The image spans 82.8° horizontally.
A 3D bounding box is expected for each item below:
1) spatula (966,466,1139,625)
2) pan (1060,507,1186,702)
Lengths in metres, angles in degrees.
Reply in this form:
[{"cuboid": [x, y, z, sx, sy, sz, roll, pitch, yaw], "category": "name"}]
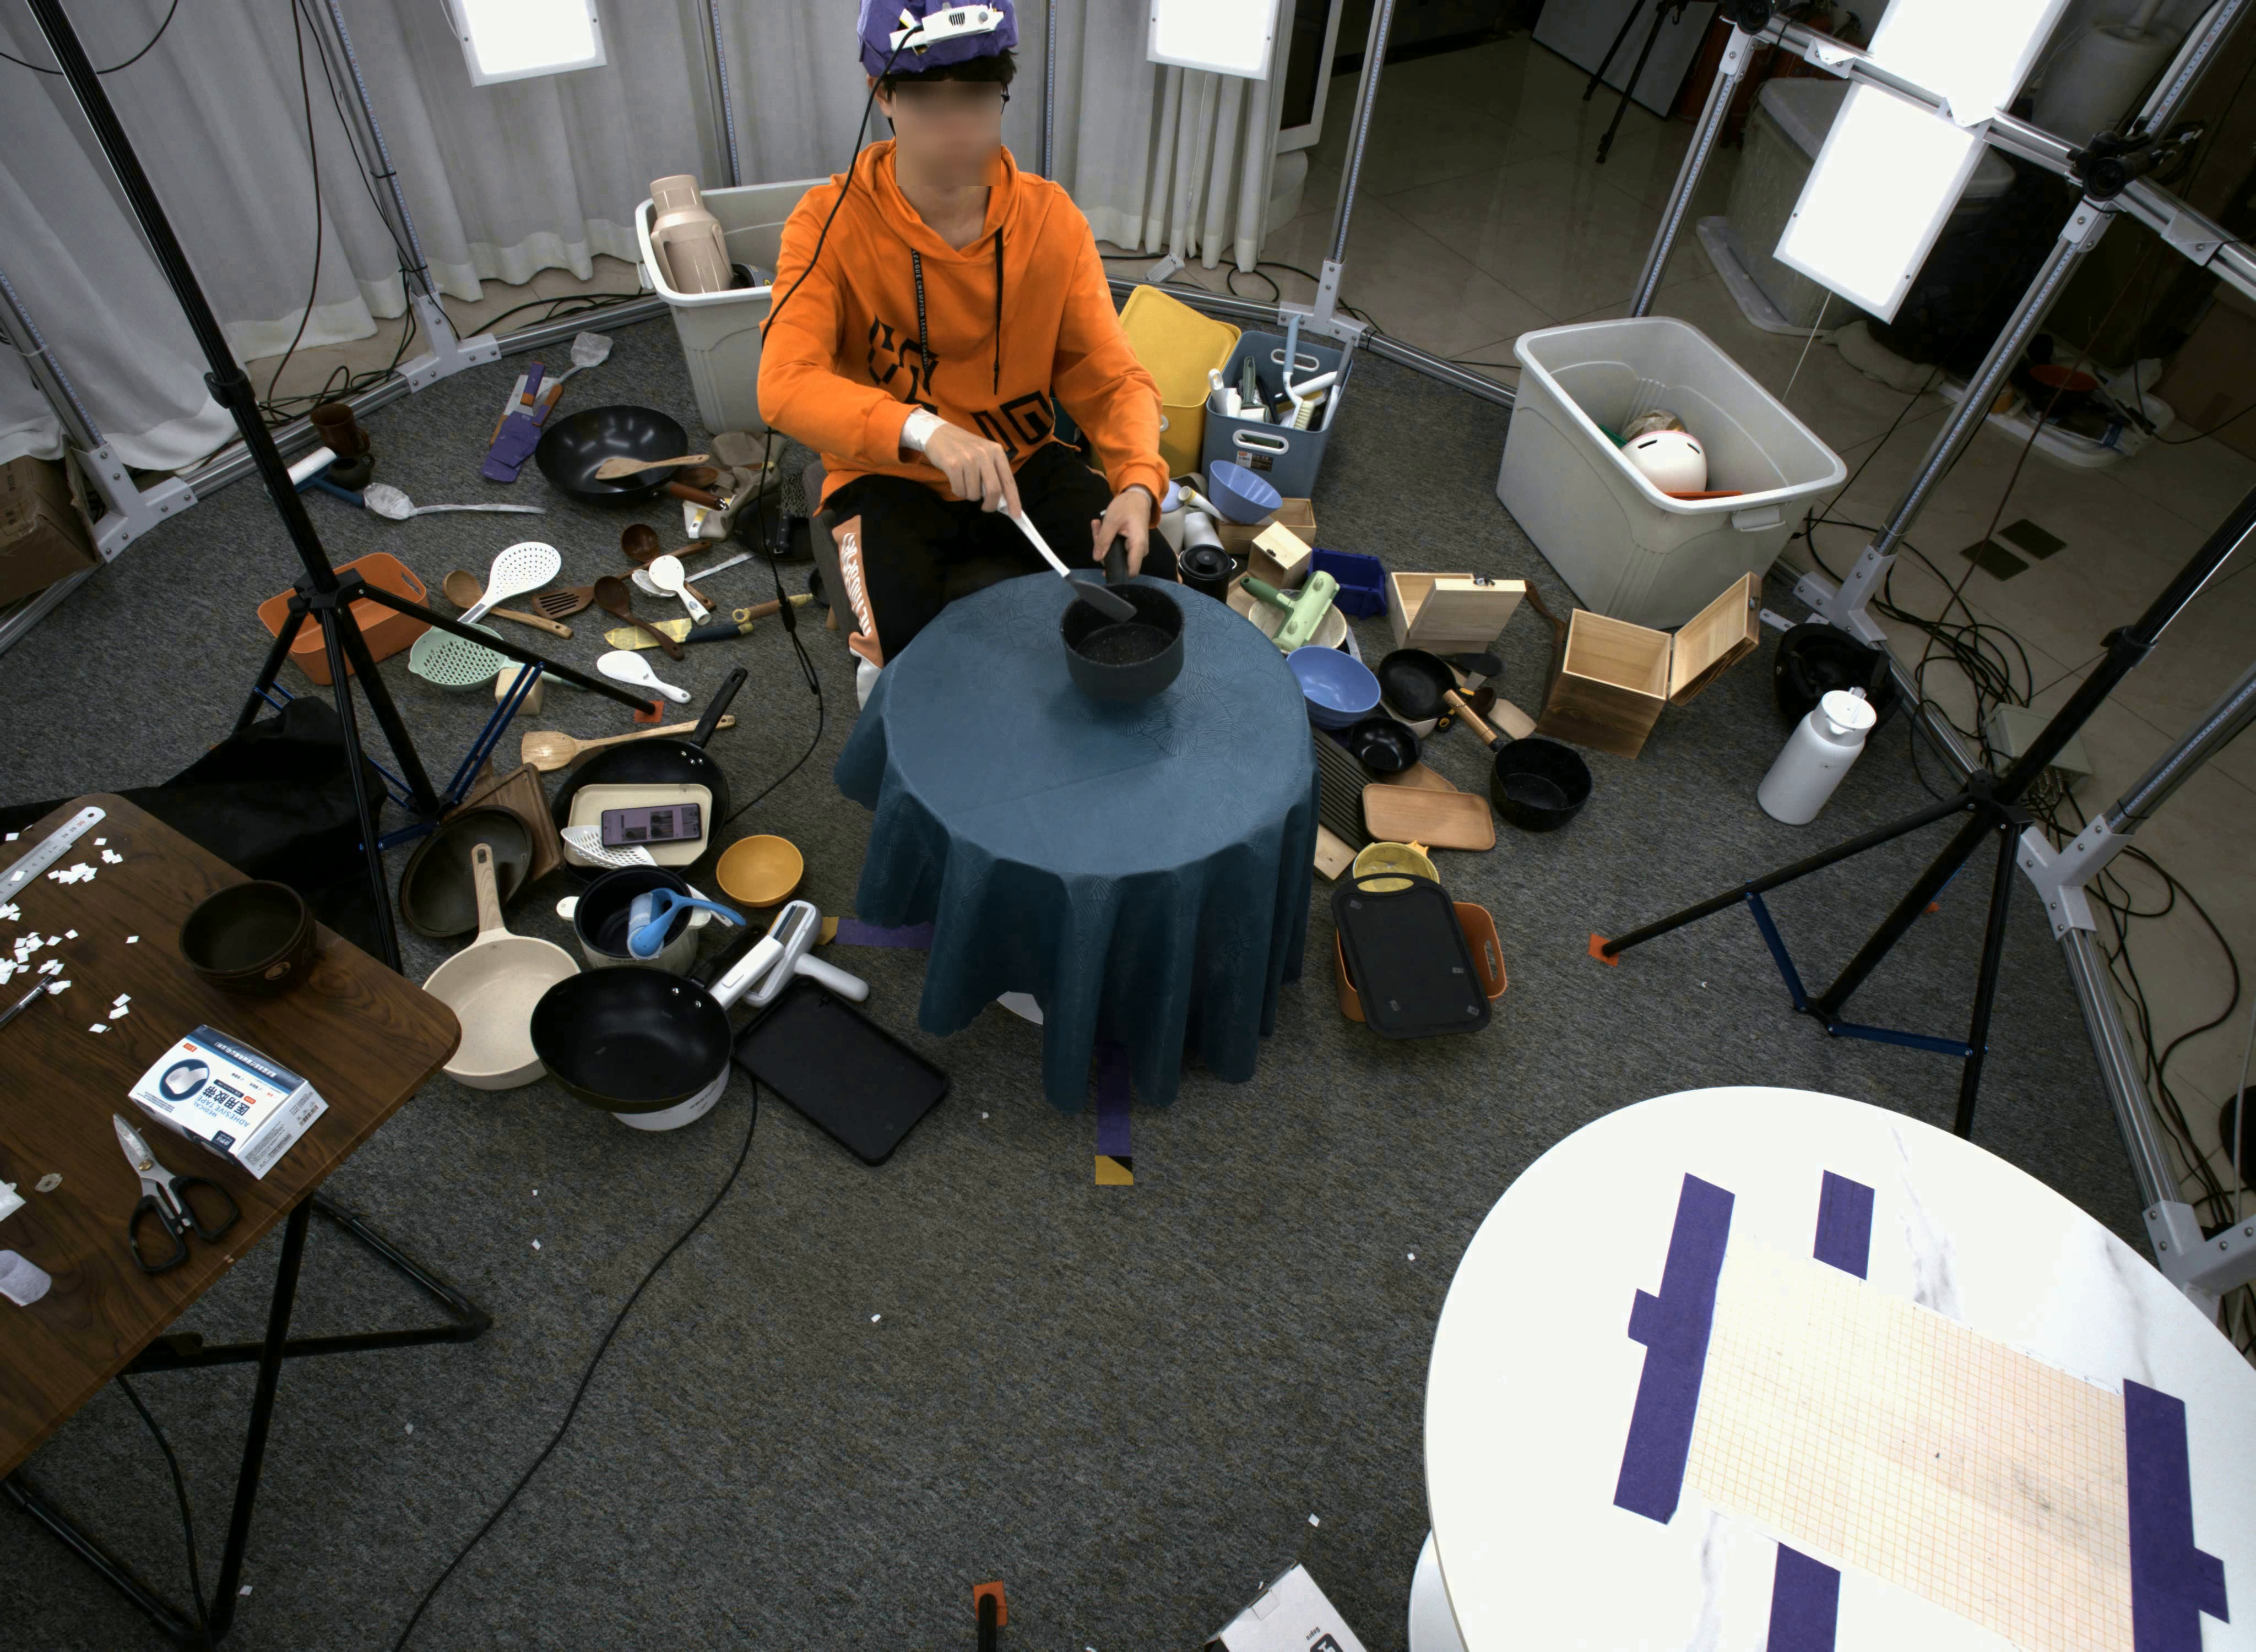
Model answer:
[{"cuboid": [-0.102, -0.373, 1.747, 0.285, 0.058, 0.033, 43, 56, -10], "category": "spatula"}, {"cuboid": [-0.007, -0.316, 1.824, 0.172, 0.084, 0.337, -3, 50, 2], "category": "pan"}]
